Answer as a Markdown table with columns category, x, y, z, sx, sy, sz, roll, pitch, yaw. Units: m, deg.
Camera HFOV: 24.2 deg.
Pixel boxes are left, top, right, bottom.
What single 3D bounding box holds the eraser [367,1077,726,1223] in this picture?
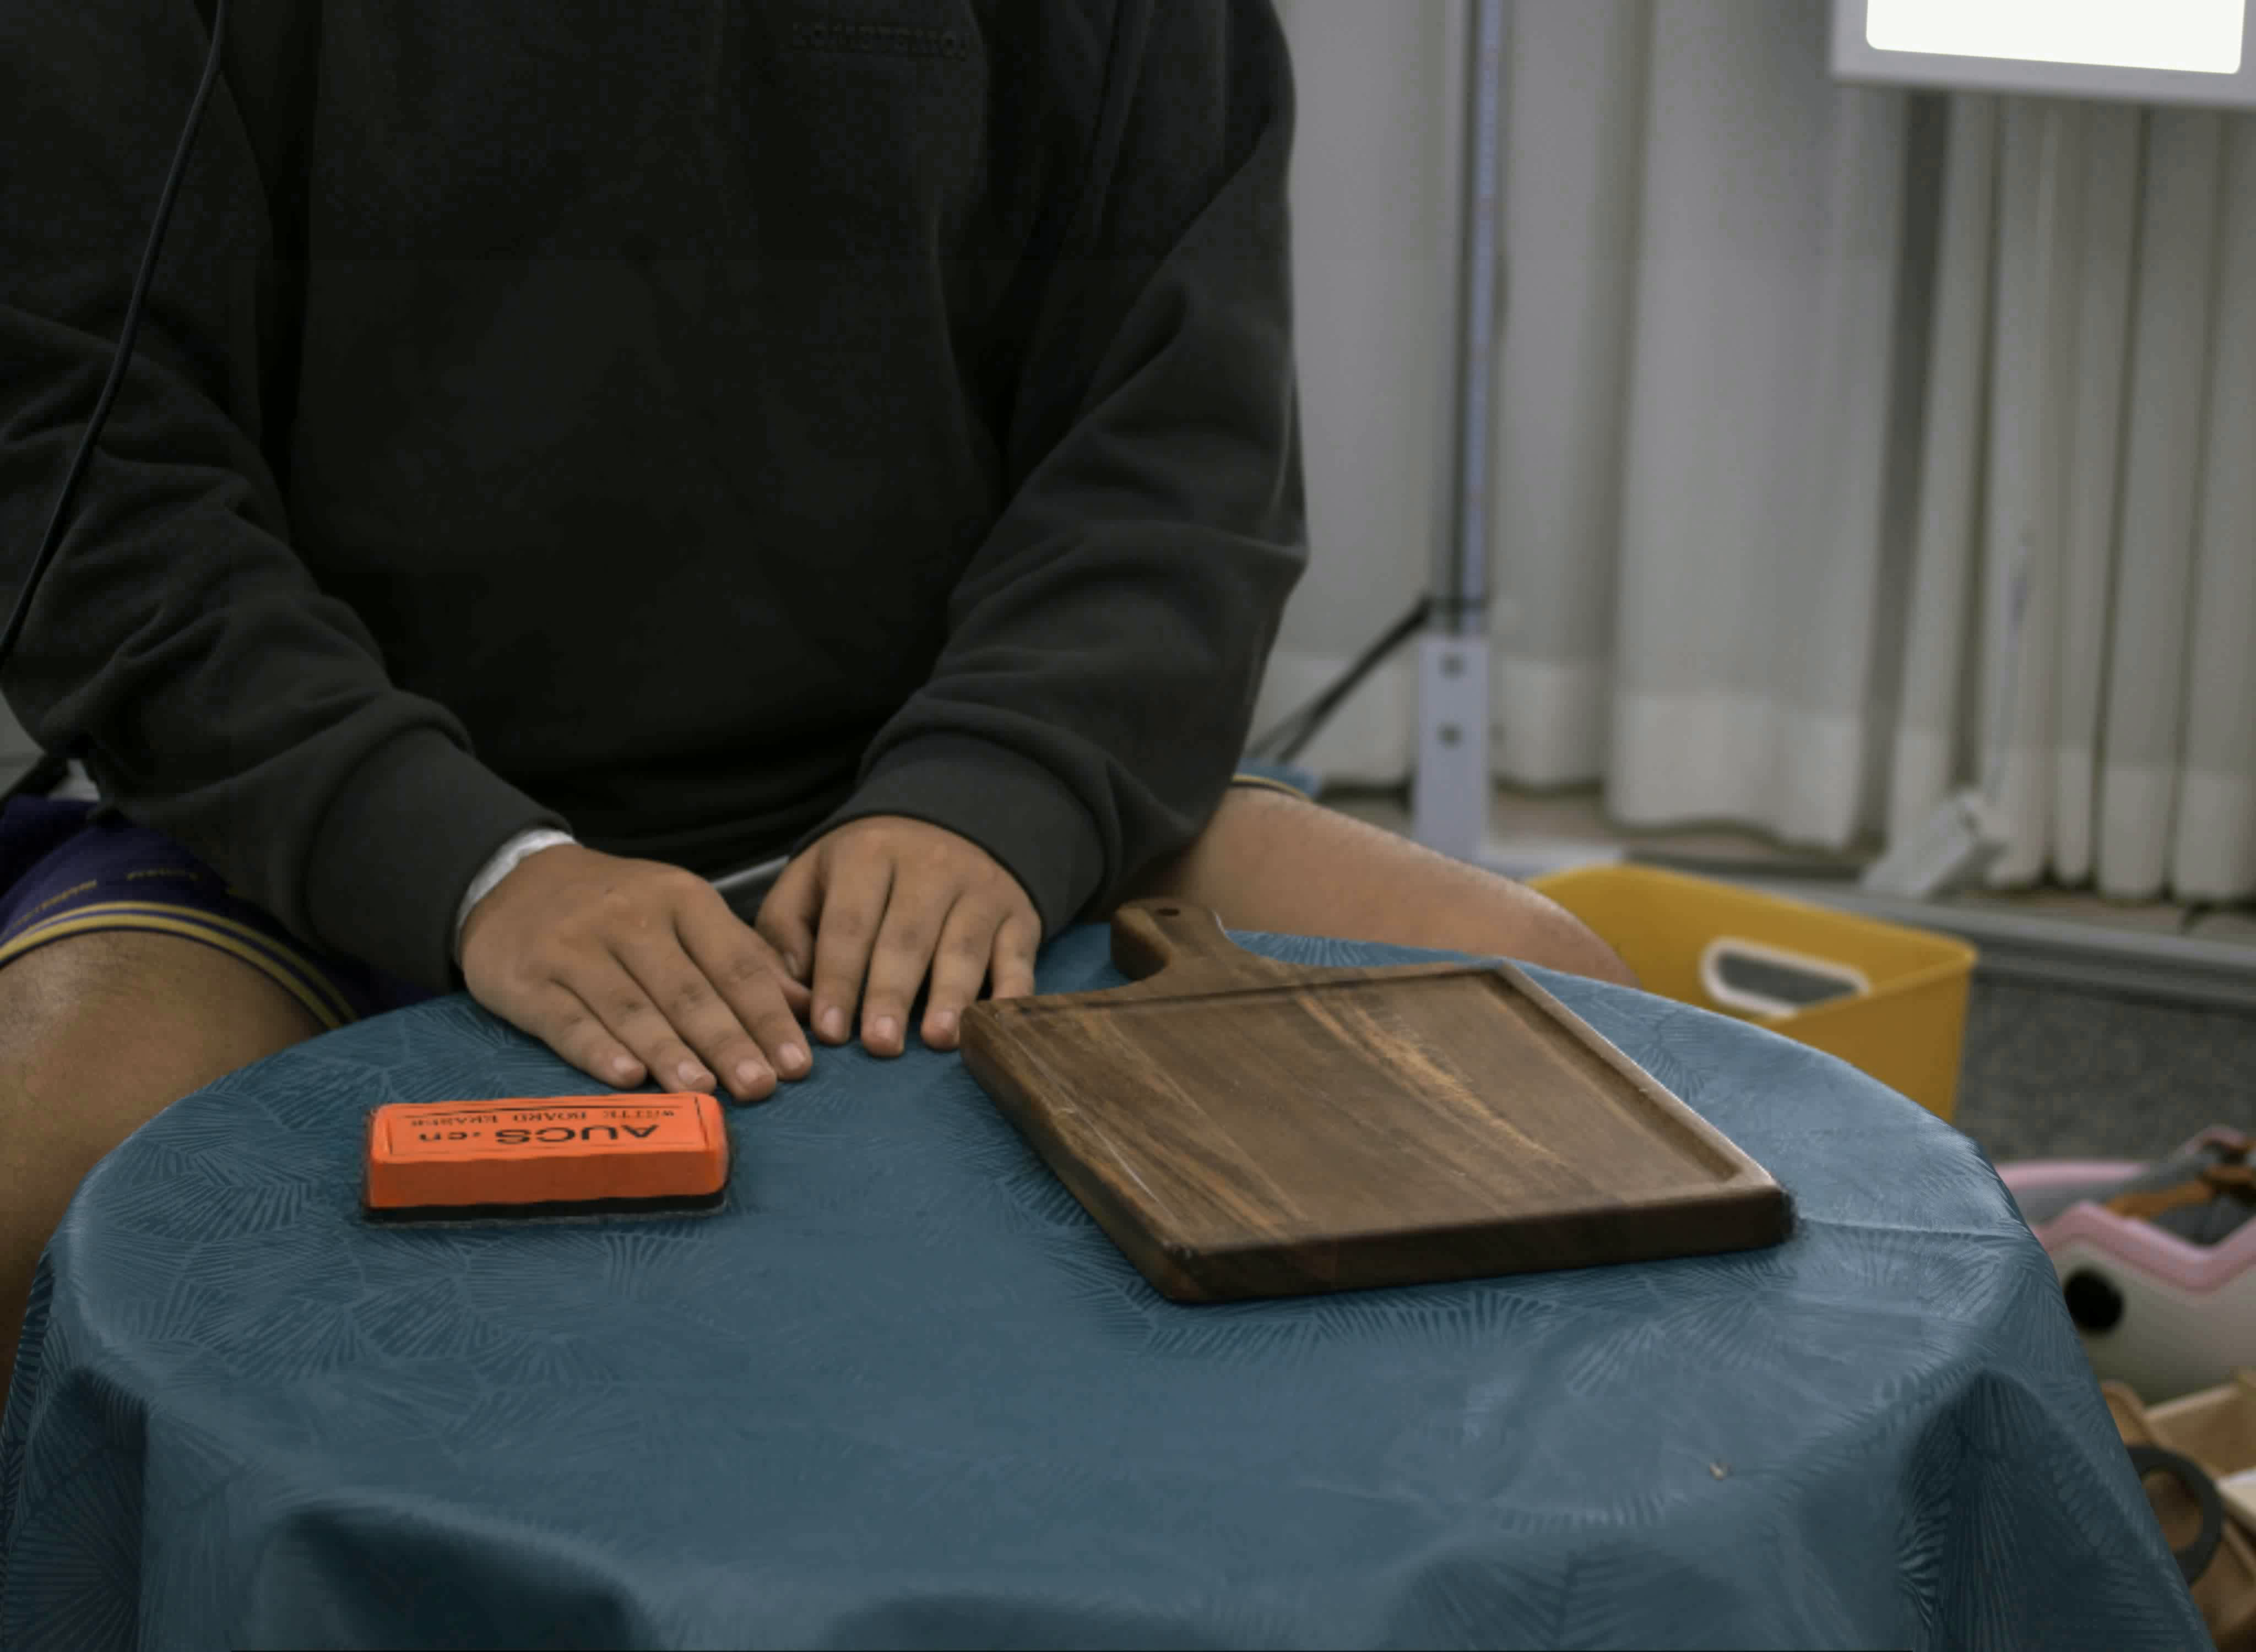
| category | x | y | z | sx | sy | sz | roll | pitch | yaw |
| --- | --- | --- | --- | --- | --- | --- | --- | --- | --- |
| eraser | -0.178 | 0.098 | 1.609 | 0.108 | 0.023 | 0.058 | -3 | 17 | -9 |

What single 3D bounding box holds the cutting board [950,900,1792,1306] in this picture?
| category | x | y | z | sx | sy | sz | roll | pitch | yaw |
| --- | --- | --- | --- | --- | --- | --- | --- | --- | --- |
| cutting board | 0.056 | 0.079 | 1.705 | 0.201 | 0.023 | 0.348 | -4 | 16 | -17 |
